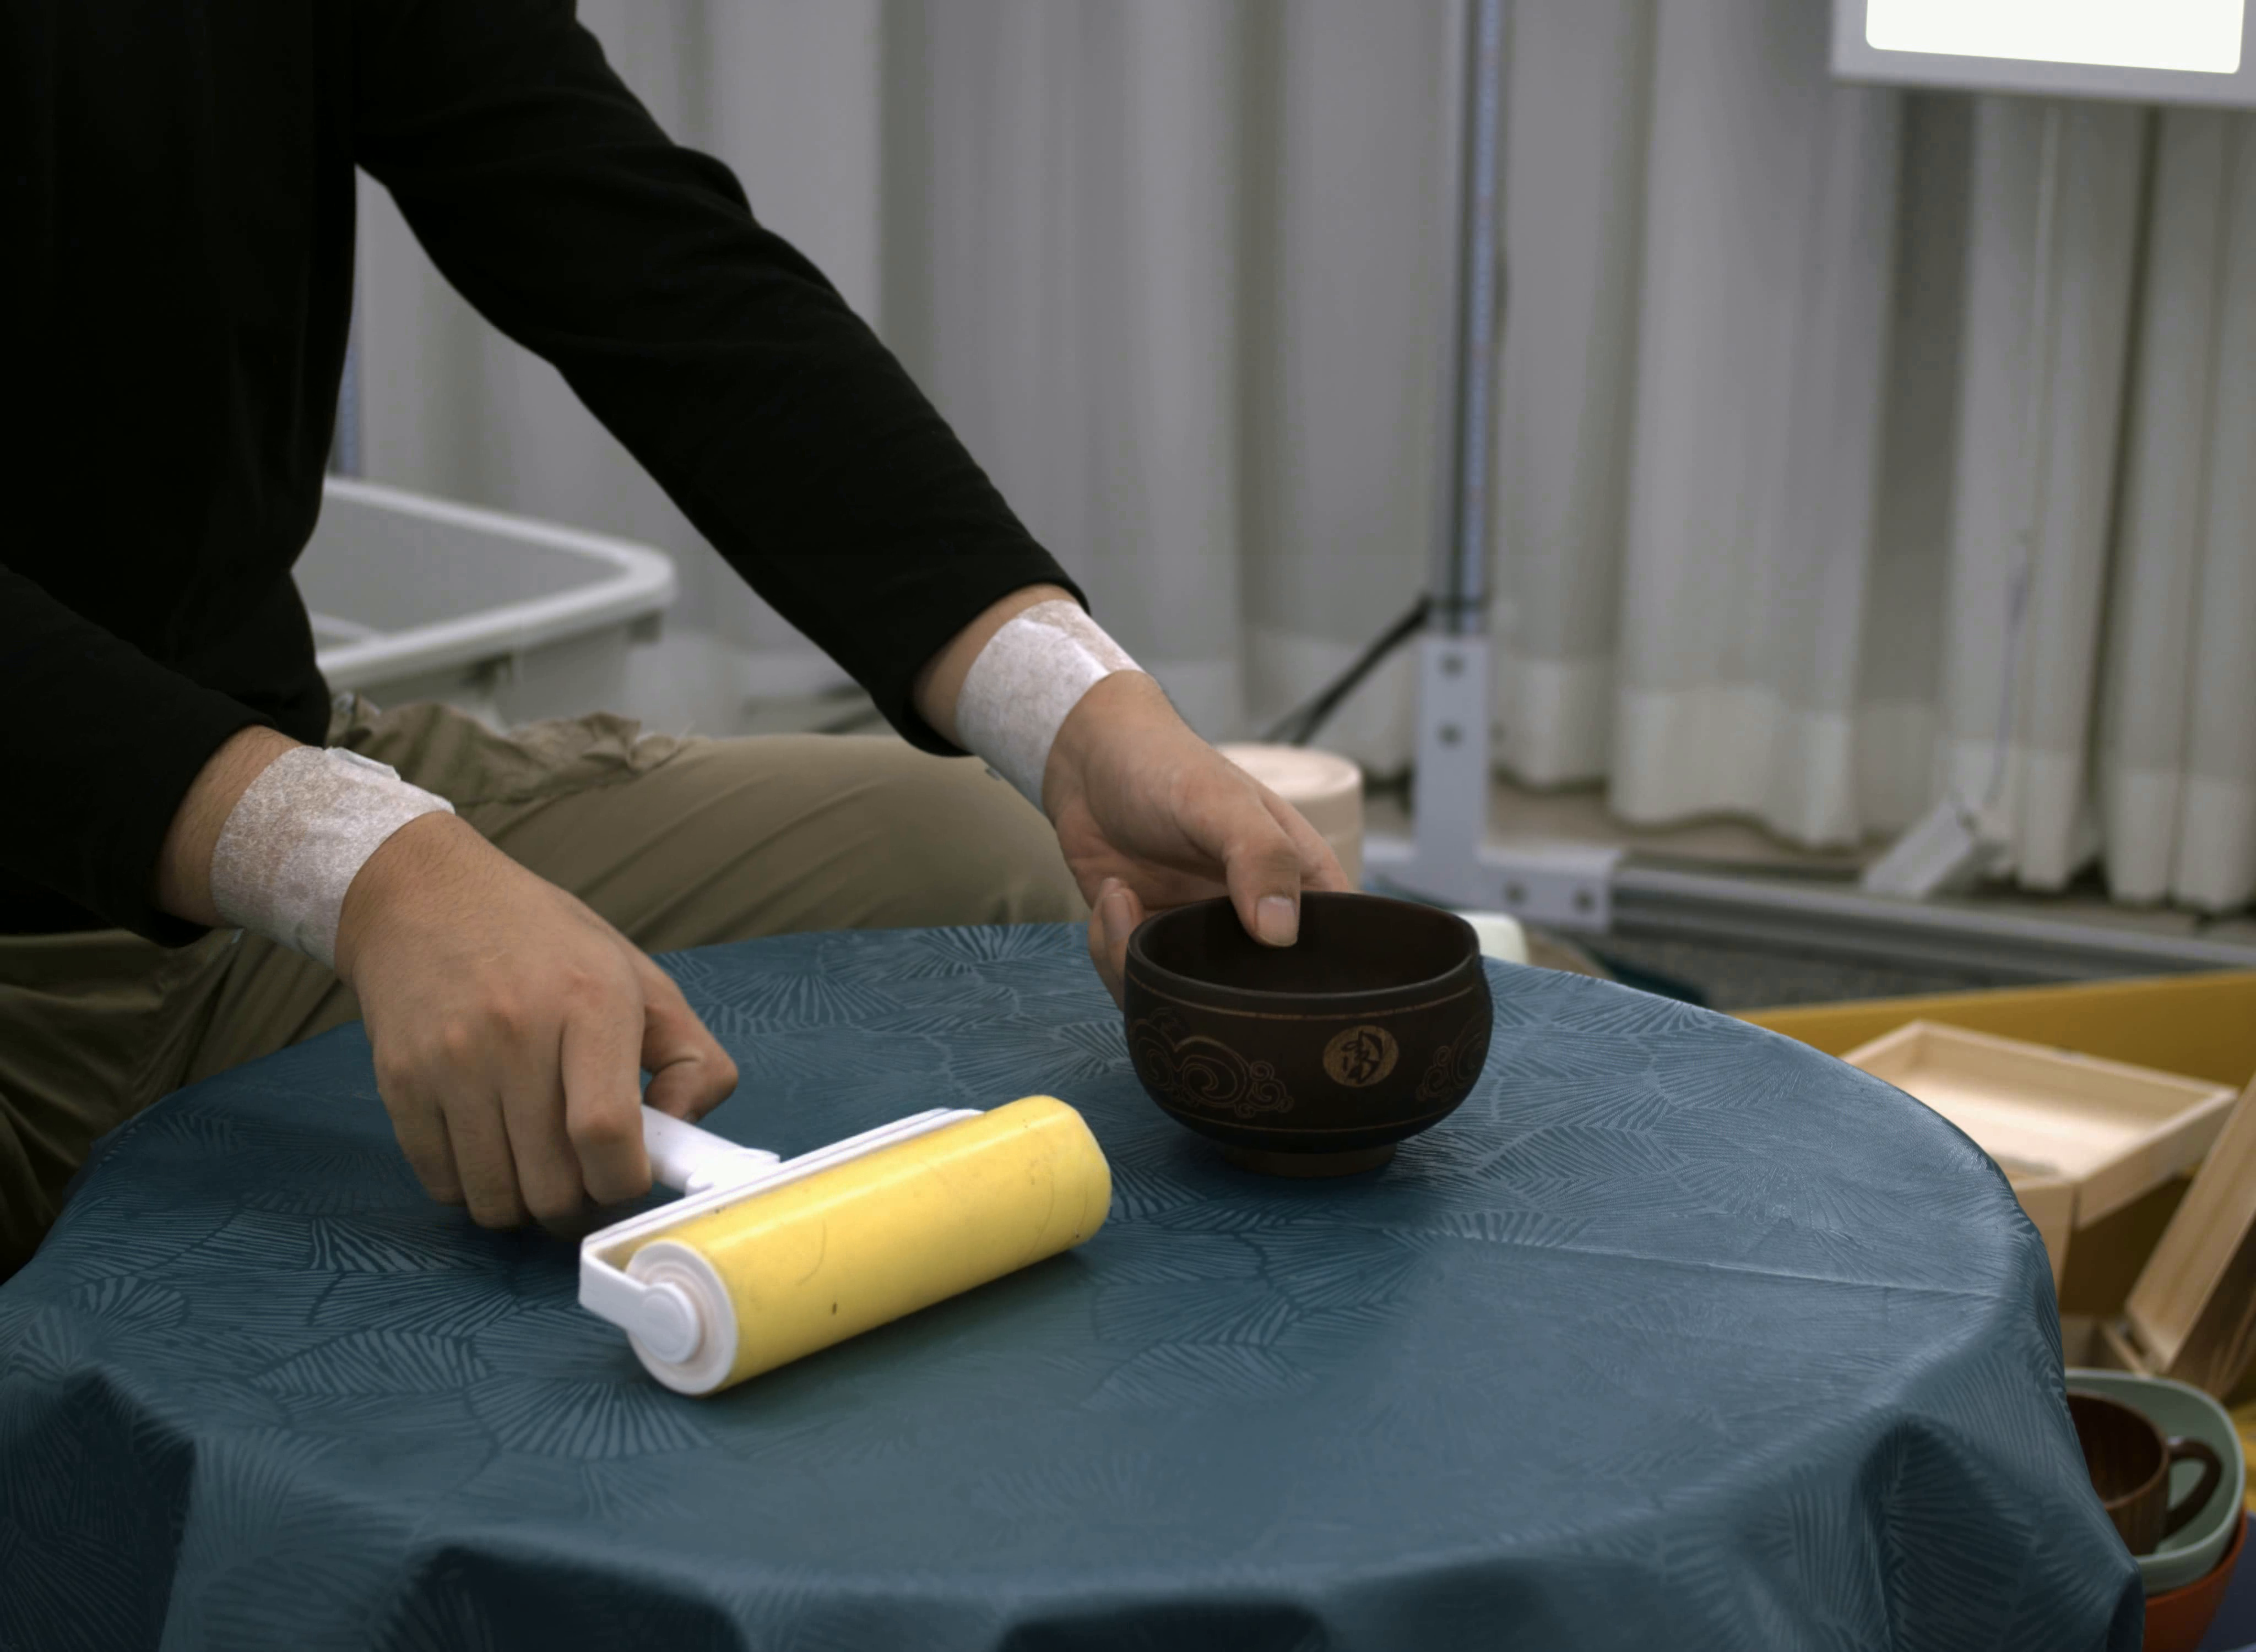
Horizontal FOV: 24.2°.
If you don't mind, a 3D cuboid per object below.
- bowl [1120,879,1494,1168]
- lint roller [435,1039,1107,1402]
[{"bbox_3d":[0.055,0.066,1.650,0.117,0.070,0.117,2,16,0],"label":"bowl"},{"bbox_3d":[-0.129,0.092,1.541,0.189,0.052,0.175,30,29,29],"label":"lint roller"}]
